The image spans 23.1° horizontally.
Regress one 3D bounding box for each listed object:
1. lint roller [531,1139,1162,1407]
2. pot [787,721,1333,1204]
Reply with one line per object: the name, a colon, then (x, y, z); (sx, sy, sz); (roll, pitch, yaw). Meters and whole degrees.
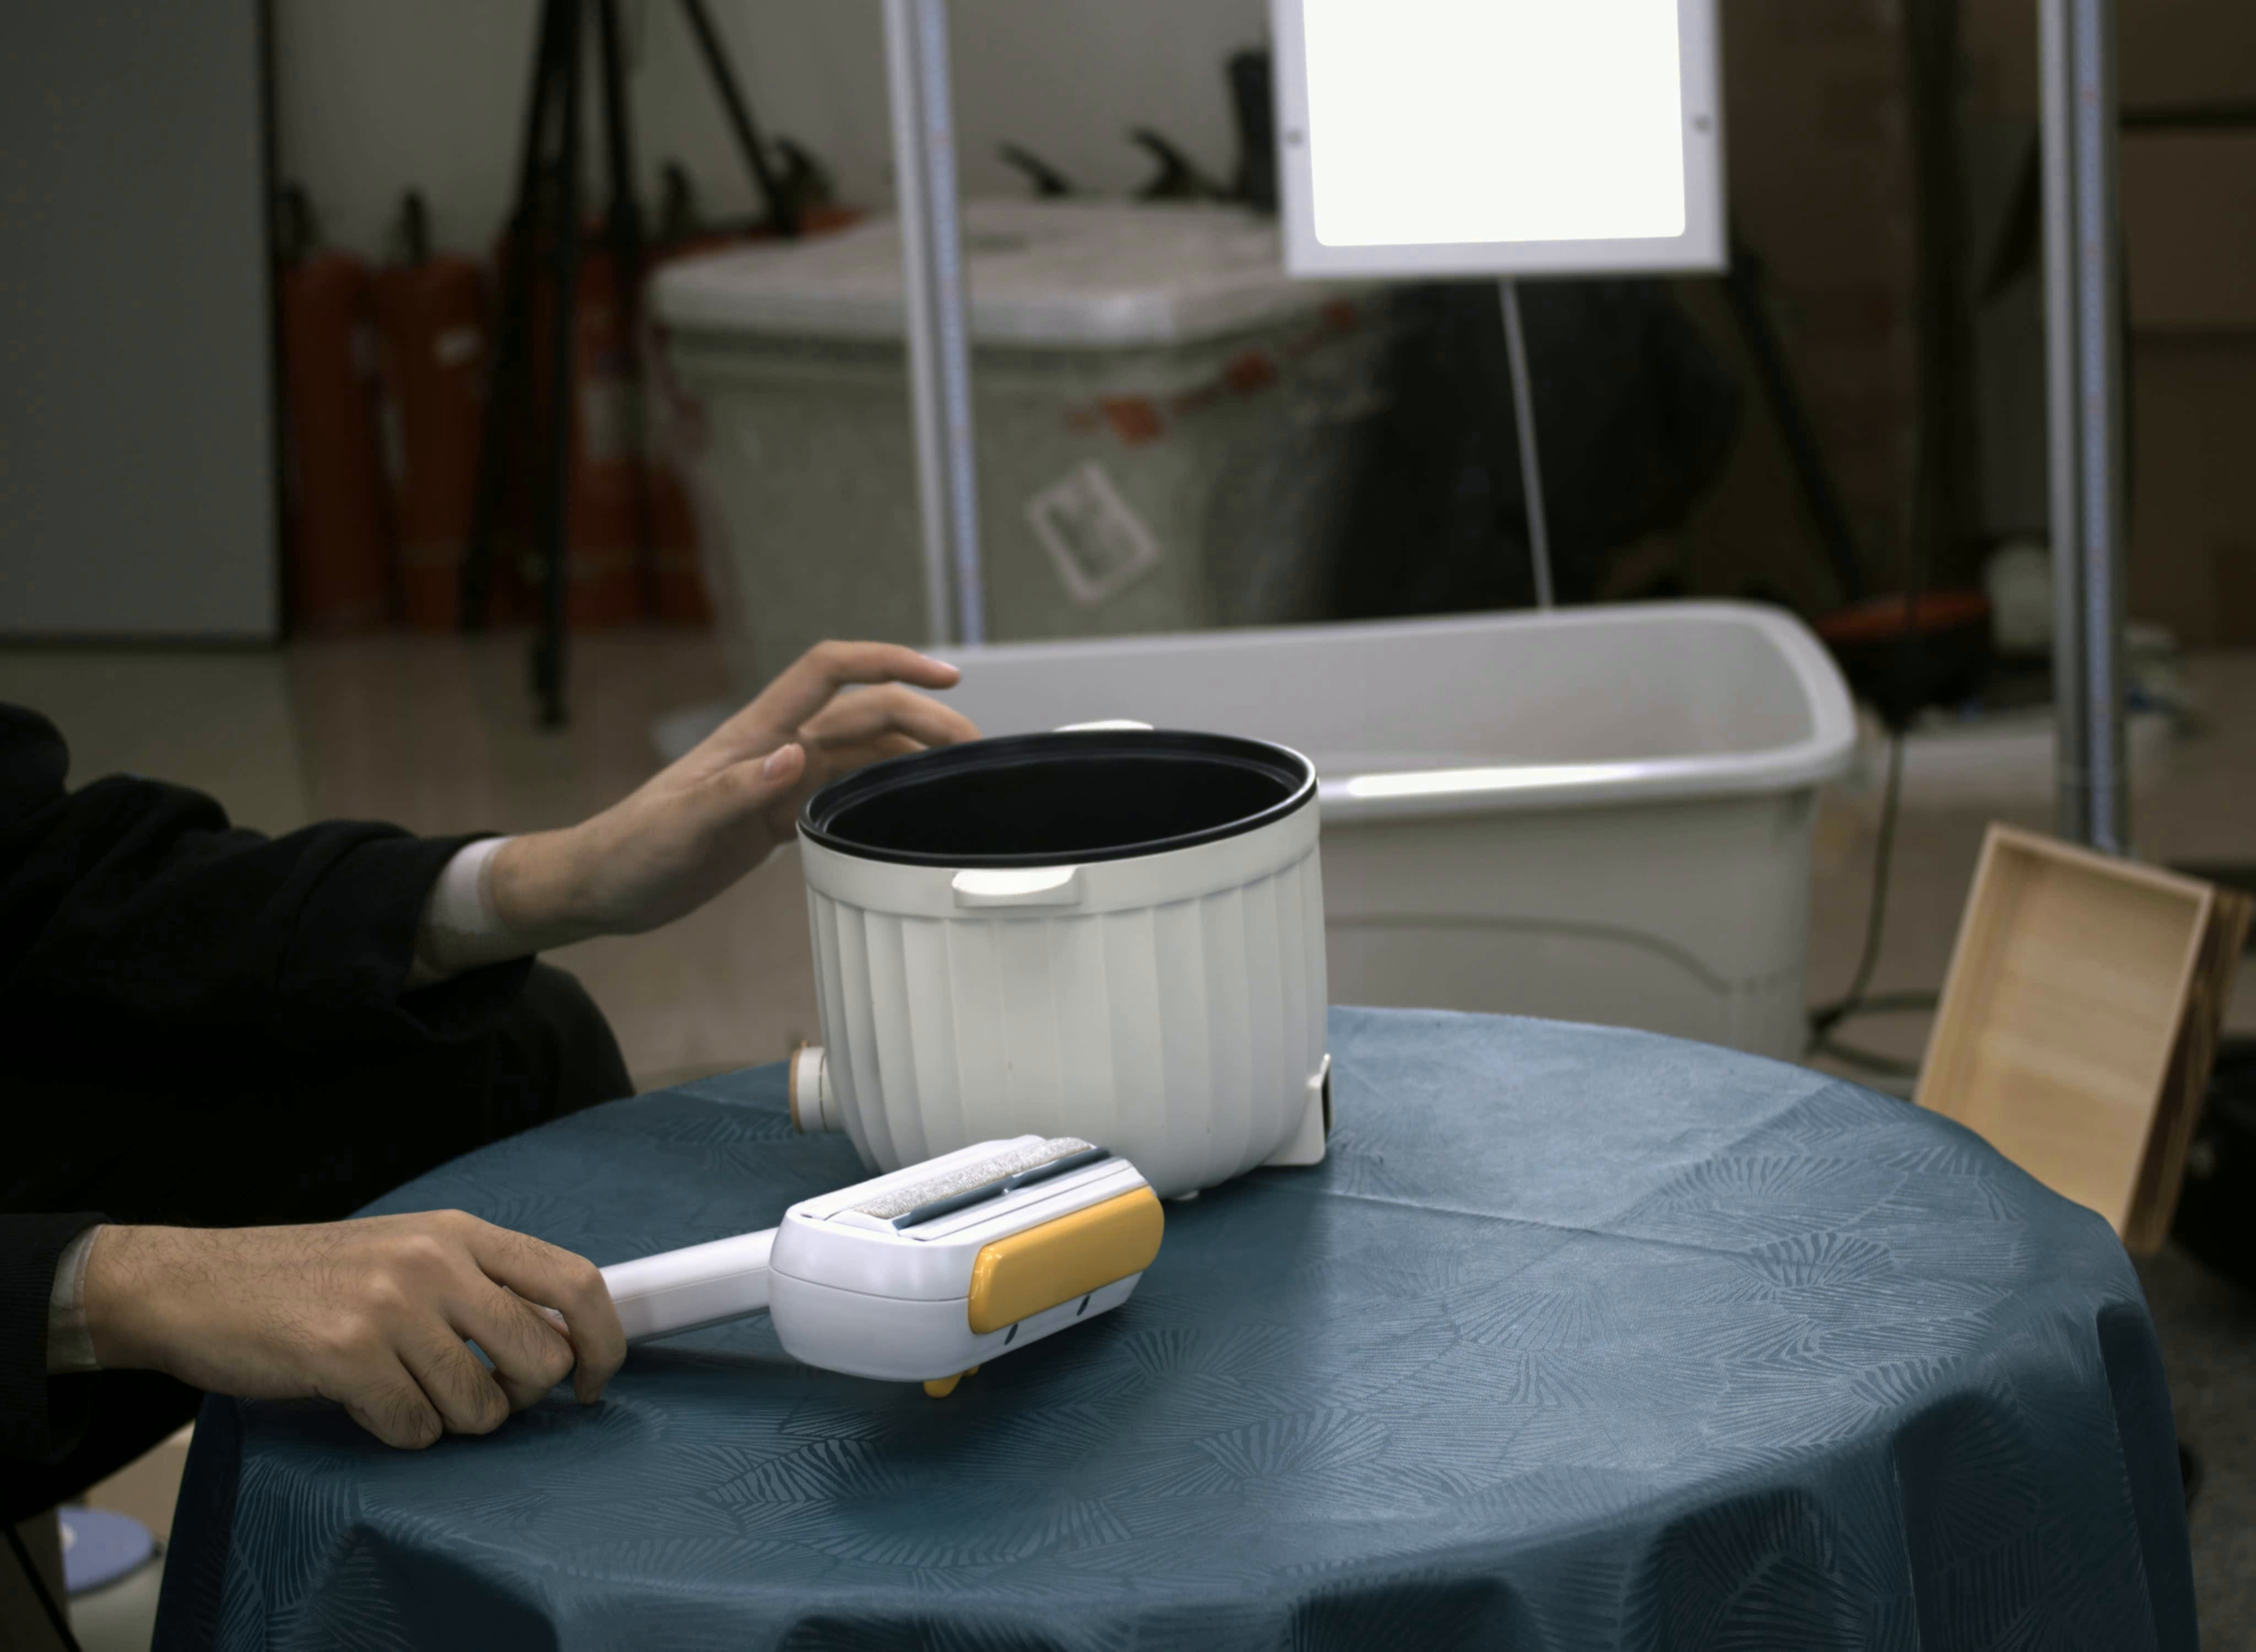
lint roller: (-0.104, 0.140, 1.735); (0.196, 0.074, 0.189); (1, 10, 28)
pot: (-0.025, 0.052, 1.914); (0.191, 0.143, 0.238); (0, 13, 9)
